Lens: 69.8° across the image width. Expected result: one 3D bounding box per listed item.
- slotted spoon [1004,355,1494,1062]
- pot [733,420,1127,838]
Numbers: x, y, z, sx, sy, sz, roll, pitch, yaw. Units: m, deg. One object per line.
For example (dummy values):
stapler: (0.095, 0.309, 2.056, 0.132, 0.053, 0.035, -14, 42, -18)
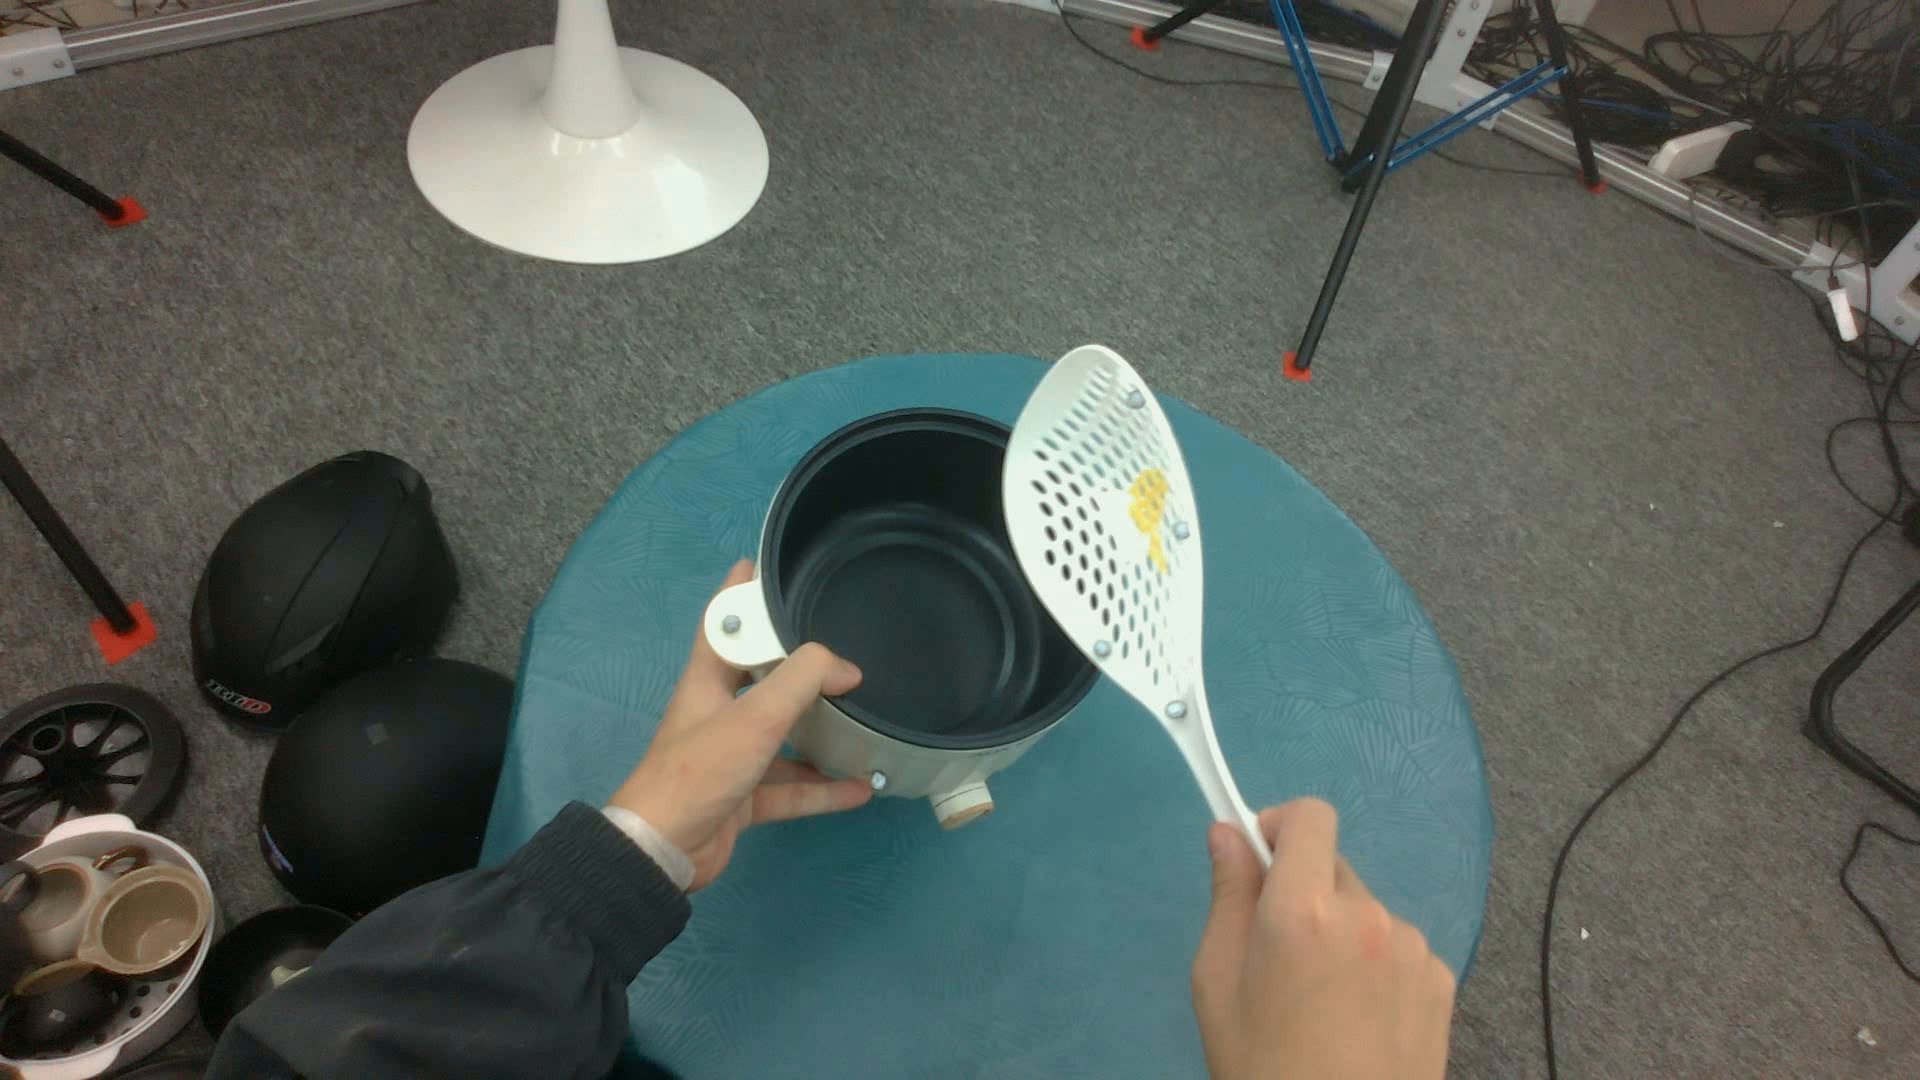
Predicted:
slotted spoon: (0.119, 0.069, 0.611, 0.050, 0.136, 0.349, -8, 59, -30)
pot: (-0.007, 0.053, 0.733, 0.241, 0.142, 0.191, -18, 65, -20)
